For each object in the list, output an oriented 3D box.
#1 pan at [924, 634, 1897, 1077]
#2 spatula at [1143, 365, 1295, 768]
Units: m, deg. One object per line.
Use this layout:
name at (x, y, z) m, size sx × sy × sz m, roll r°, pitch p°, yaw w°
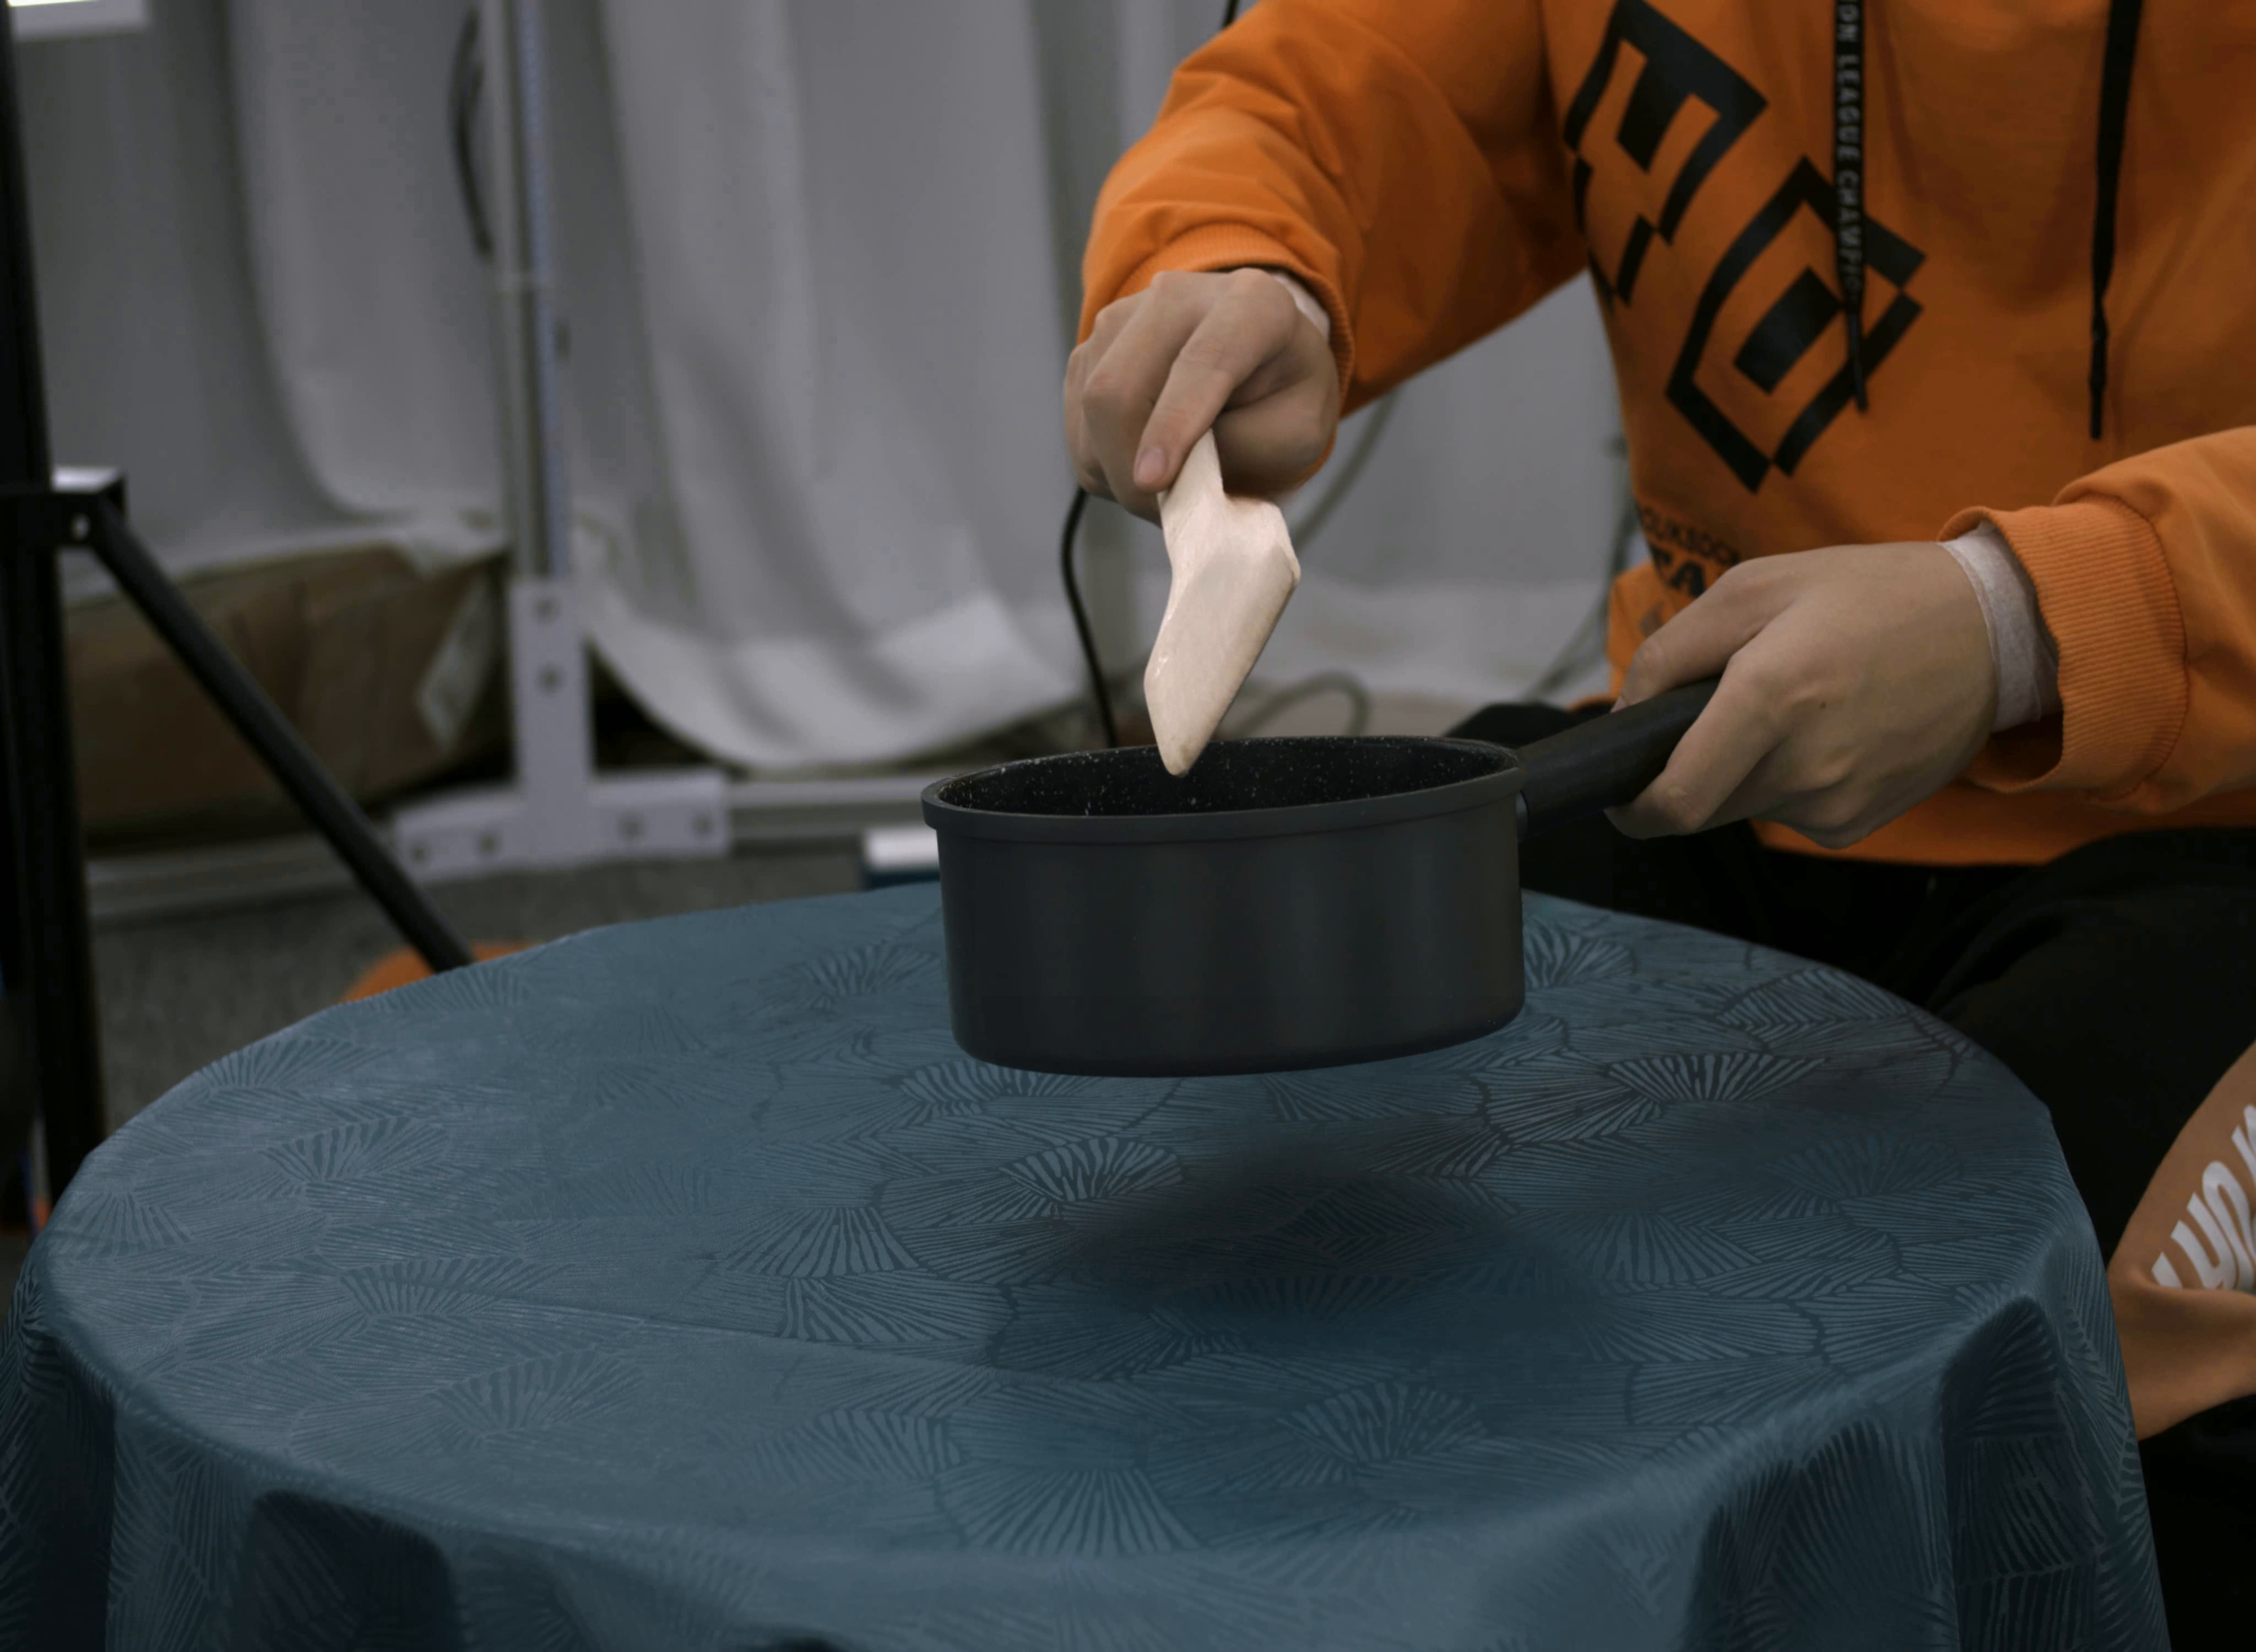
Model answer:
pan at (0.094, 0.008, 1.538) m, size 0.321 × 0.086 × 0.175 m, roll -10°, pitch 10°, yaw -32°
spatula at (0.020, -0.093, 1.591) m, size 0.010 × 0.072 × 0.295 m, roll 24°, pitch 16°, yaw -11°
